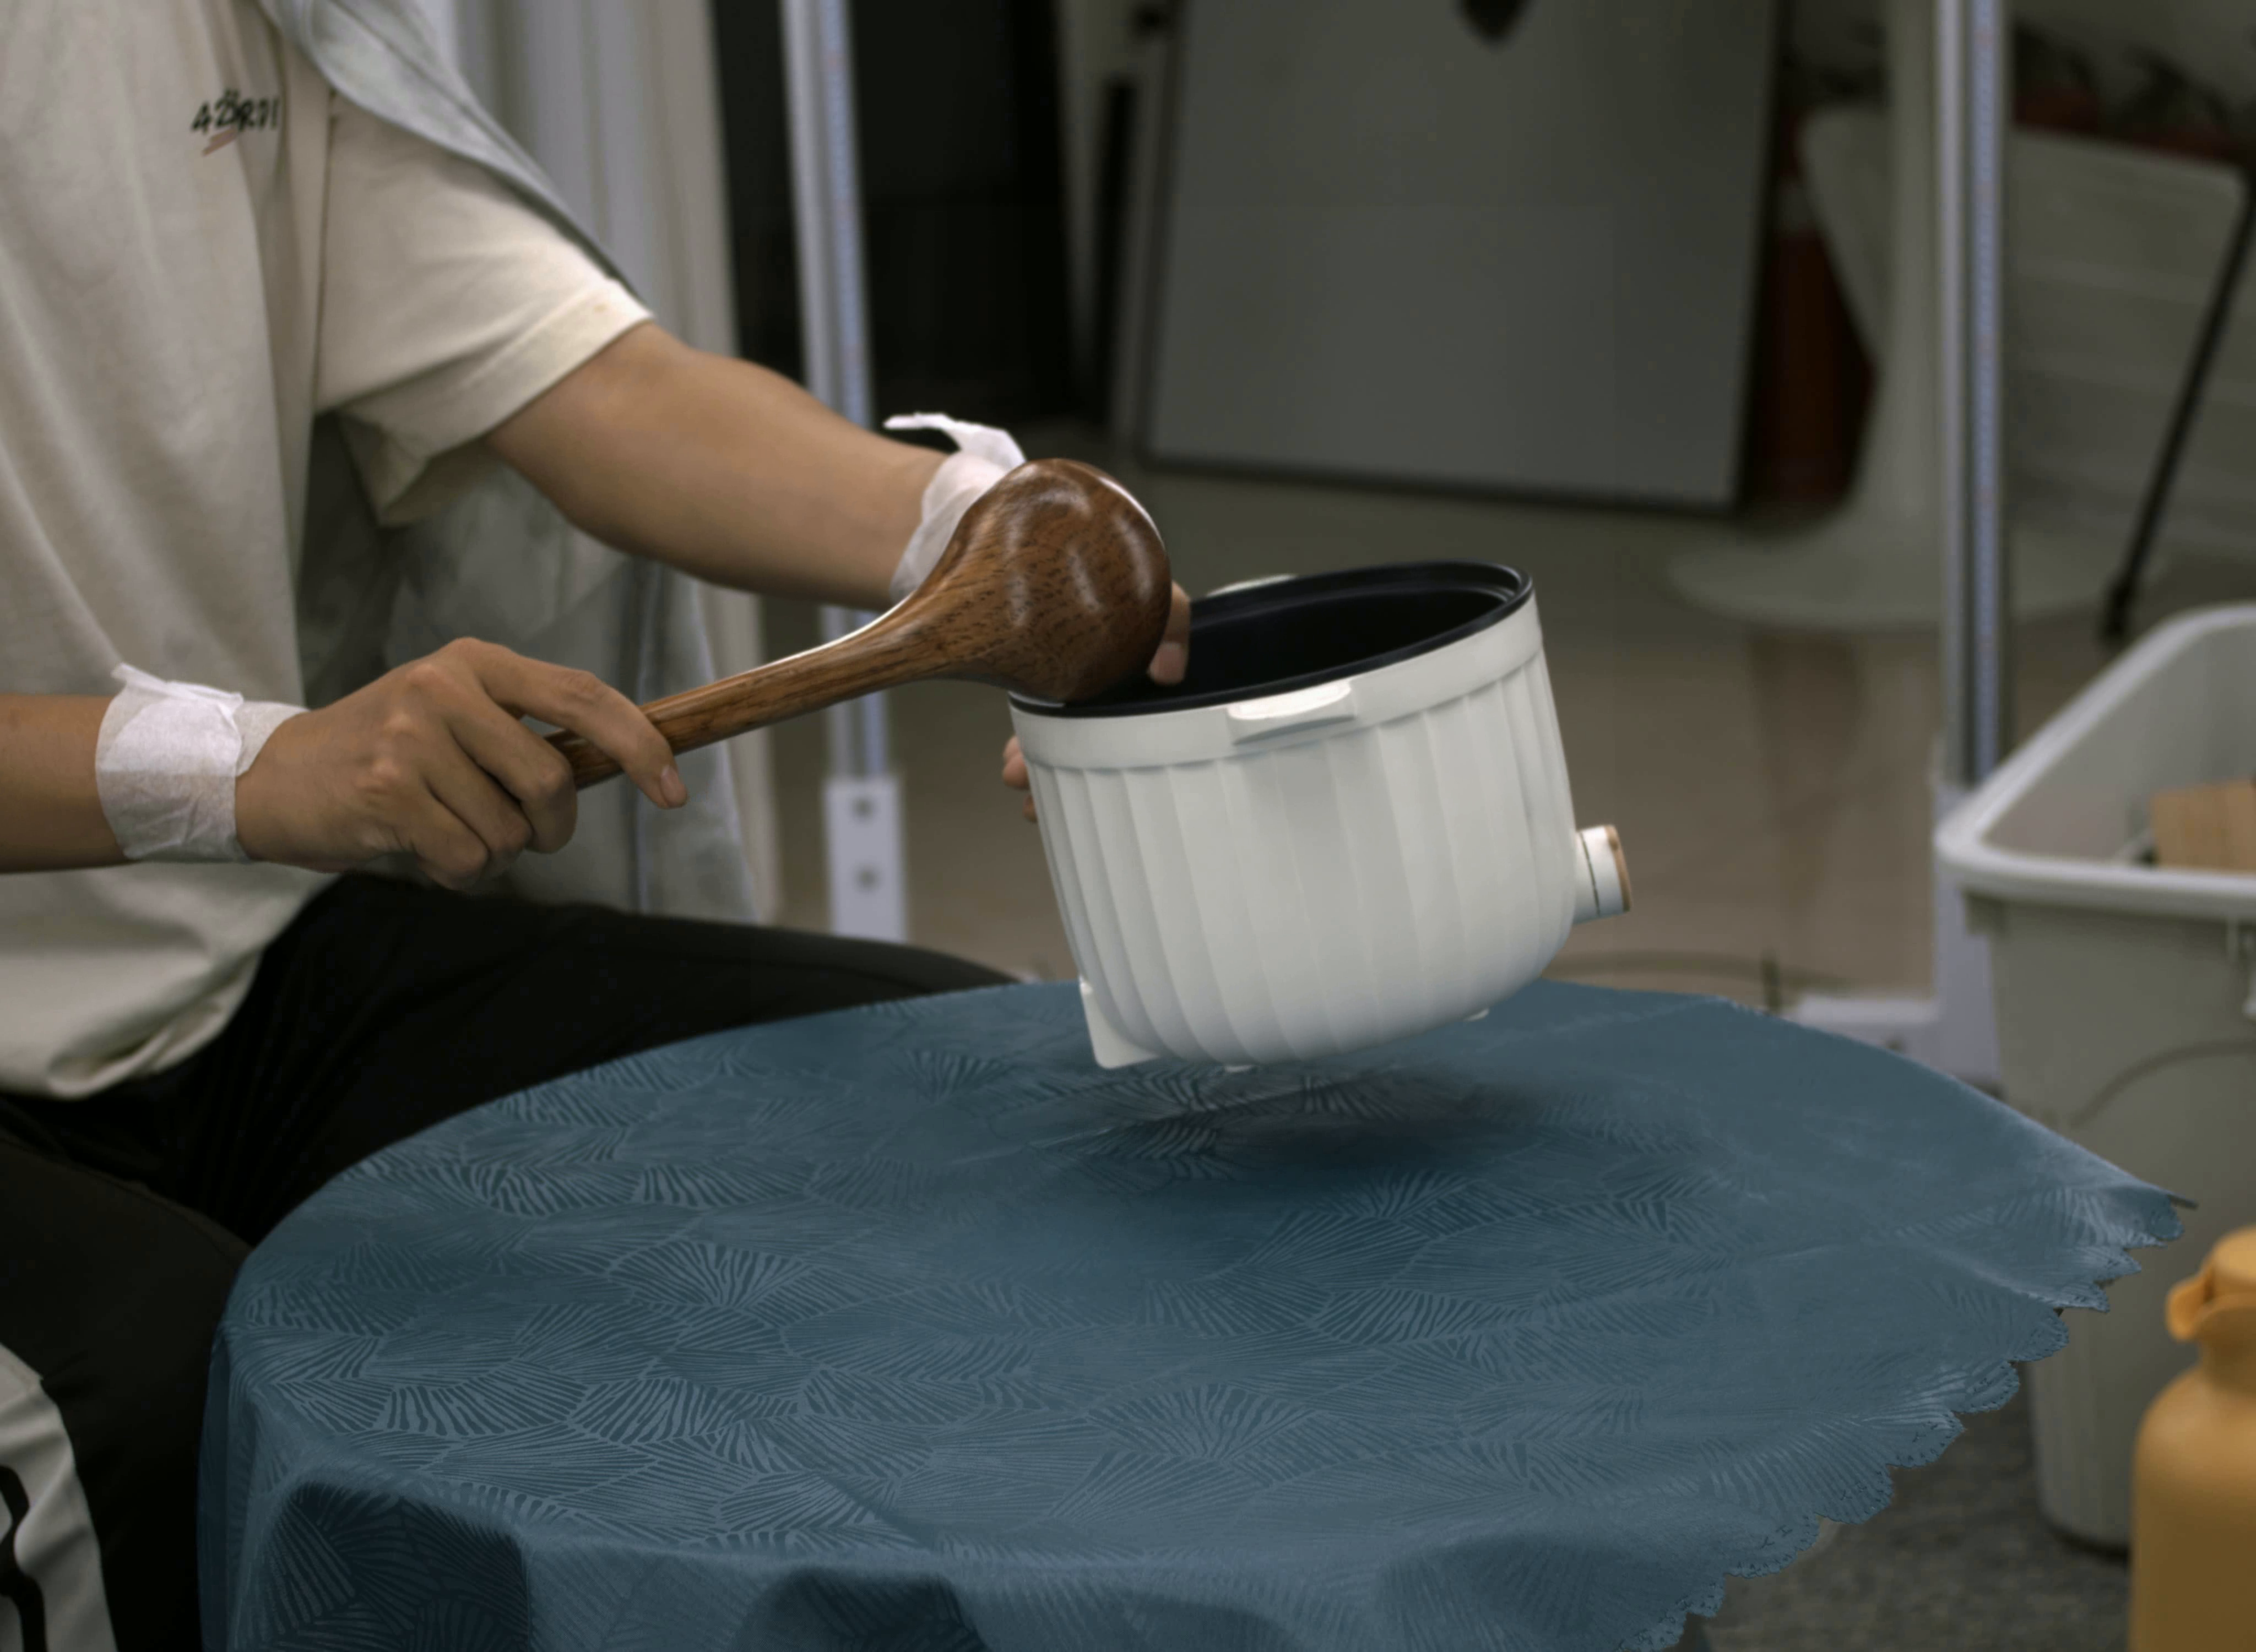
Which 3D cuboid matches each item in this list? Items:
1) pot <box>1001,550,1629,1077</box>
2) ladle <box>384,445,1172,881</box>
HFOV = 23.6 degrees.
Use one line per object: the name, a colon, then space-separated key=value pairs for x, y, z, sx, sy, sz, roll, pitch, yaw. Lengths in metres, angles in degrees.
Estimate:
pot: x=0.065 y=-0.004 z=1.814 sx=0.188 sy=0.144 sz=0.241 roll=-16 pitch=13 yaw=2
ladle: x=-0.115 y=-0.047 z=1.780 sx=0.274 sy=0.082 sz=0.076 roll=-21 pitch=1 yaw=17
